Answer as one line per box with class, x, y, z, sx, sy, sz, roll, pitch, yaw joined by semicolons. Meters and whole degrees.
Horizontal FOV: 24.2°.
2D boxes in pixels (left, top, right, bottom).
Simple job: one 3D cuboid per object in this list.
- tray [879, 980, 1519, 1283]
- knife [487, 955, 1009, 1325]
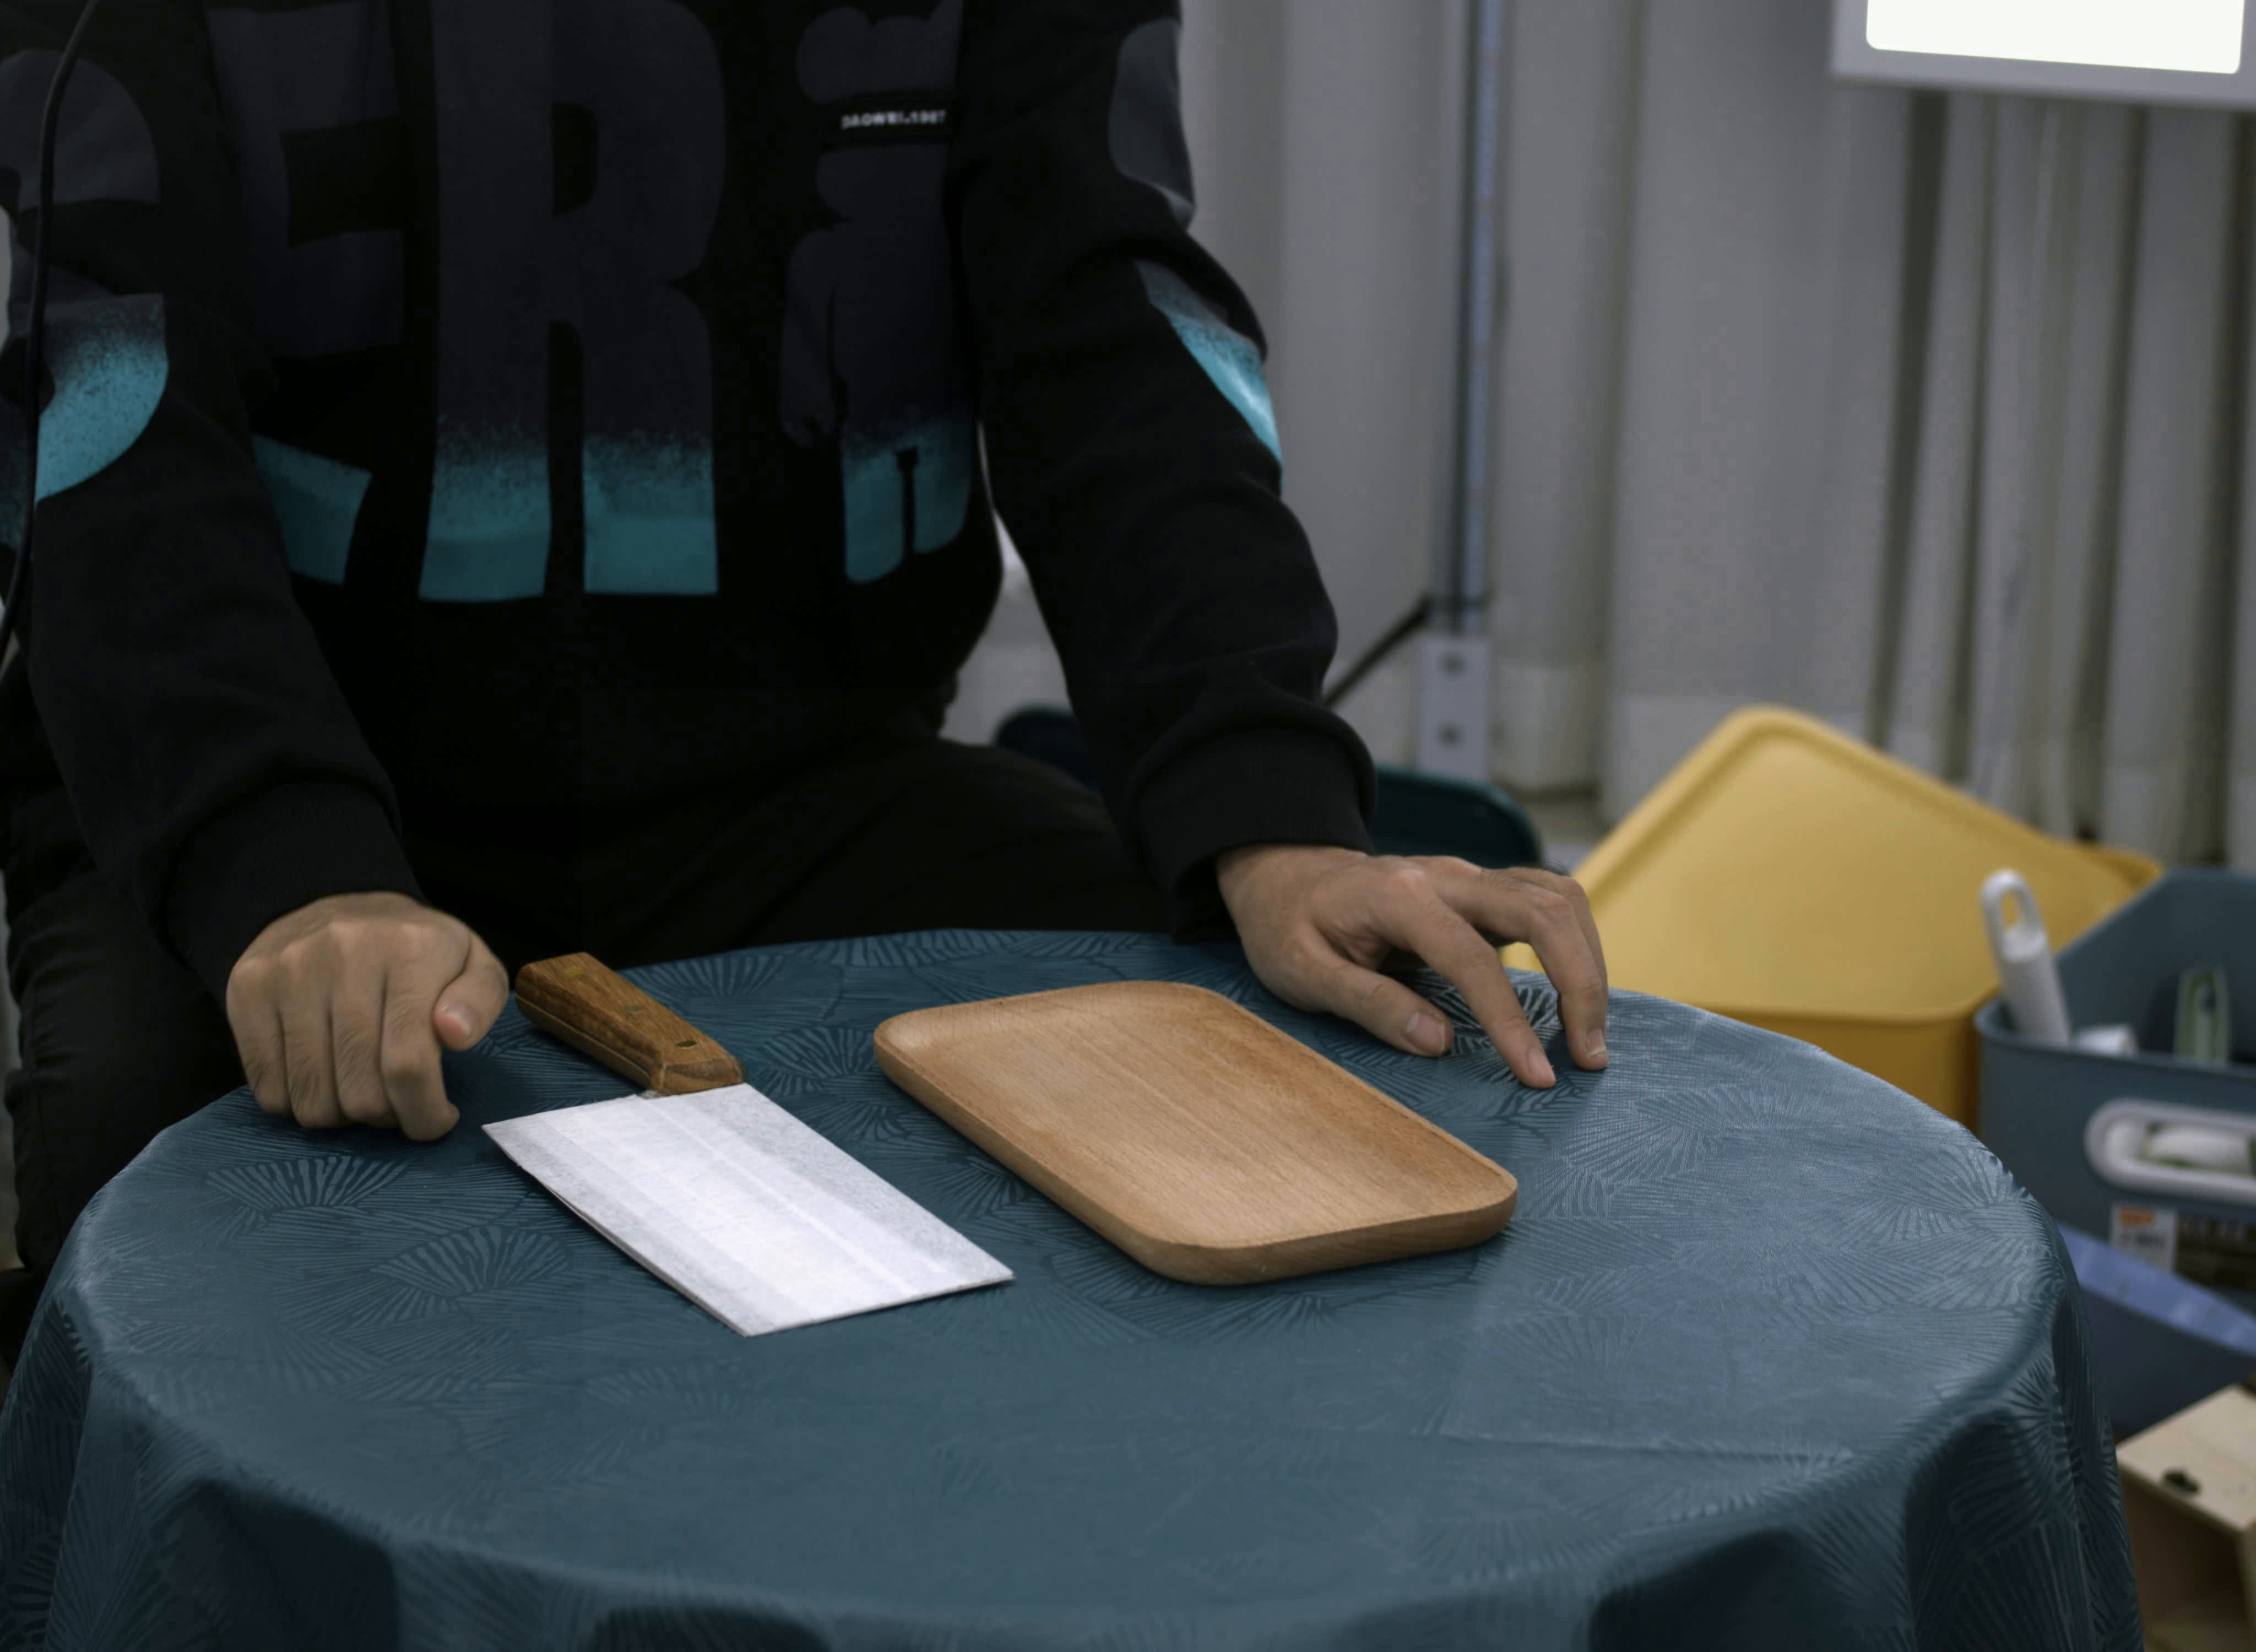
tray;0.018;0.094;1.661;0.131;0.023;0.248;-4;15;-24
knife;-0.145;0.097;1.644;0.093;0.021;0.302;-10;21;-28
